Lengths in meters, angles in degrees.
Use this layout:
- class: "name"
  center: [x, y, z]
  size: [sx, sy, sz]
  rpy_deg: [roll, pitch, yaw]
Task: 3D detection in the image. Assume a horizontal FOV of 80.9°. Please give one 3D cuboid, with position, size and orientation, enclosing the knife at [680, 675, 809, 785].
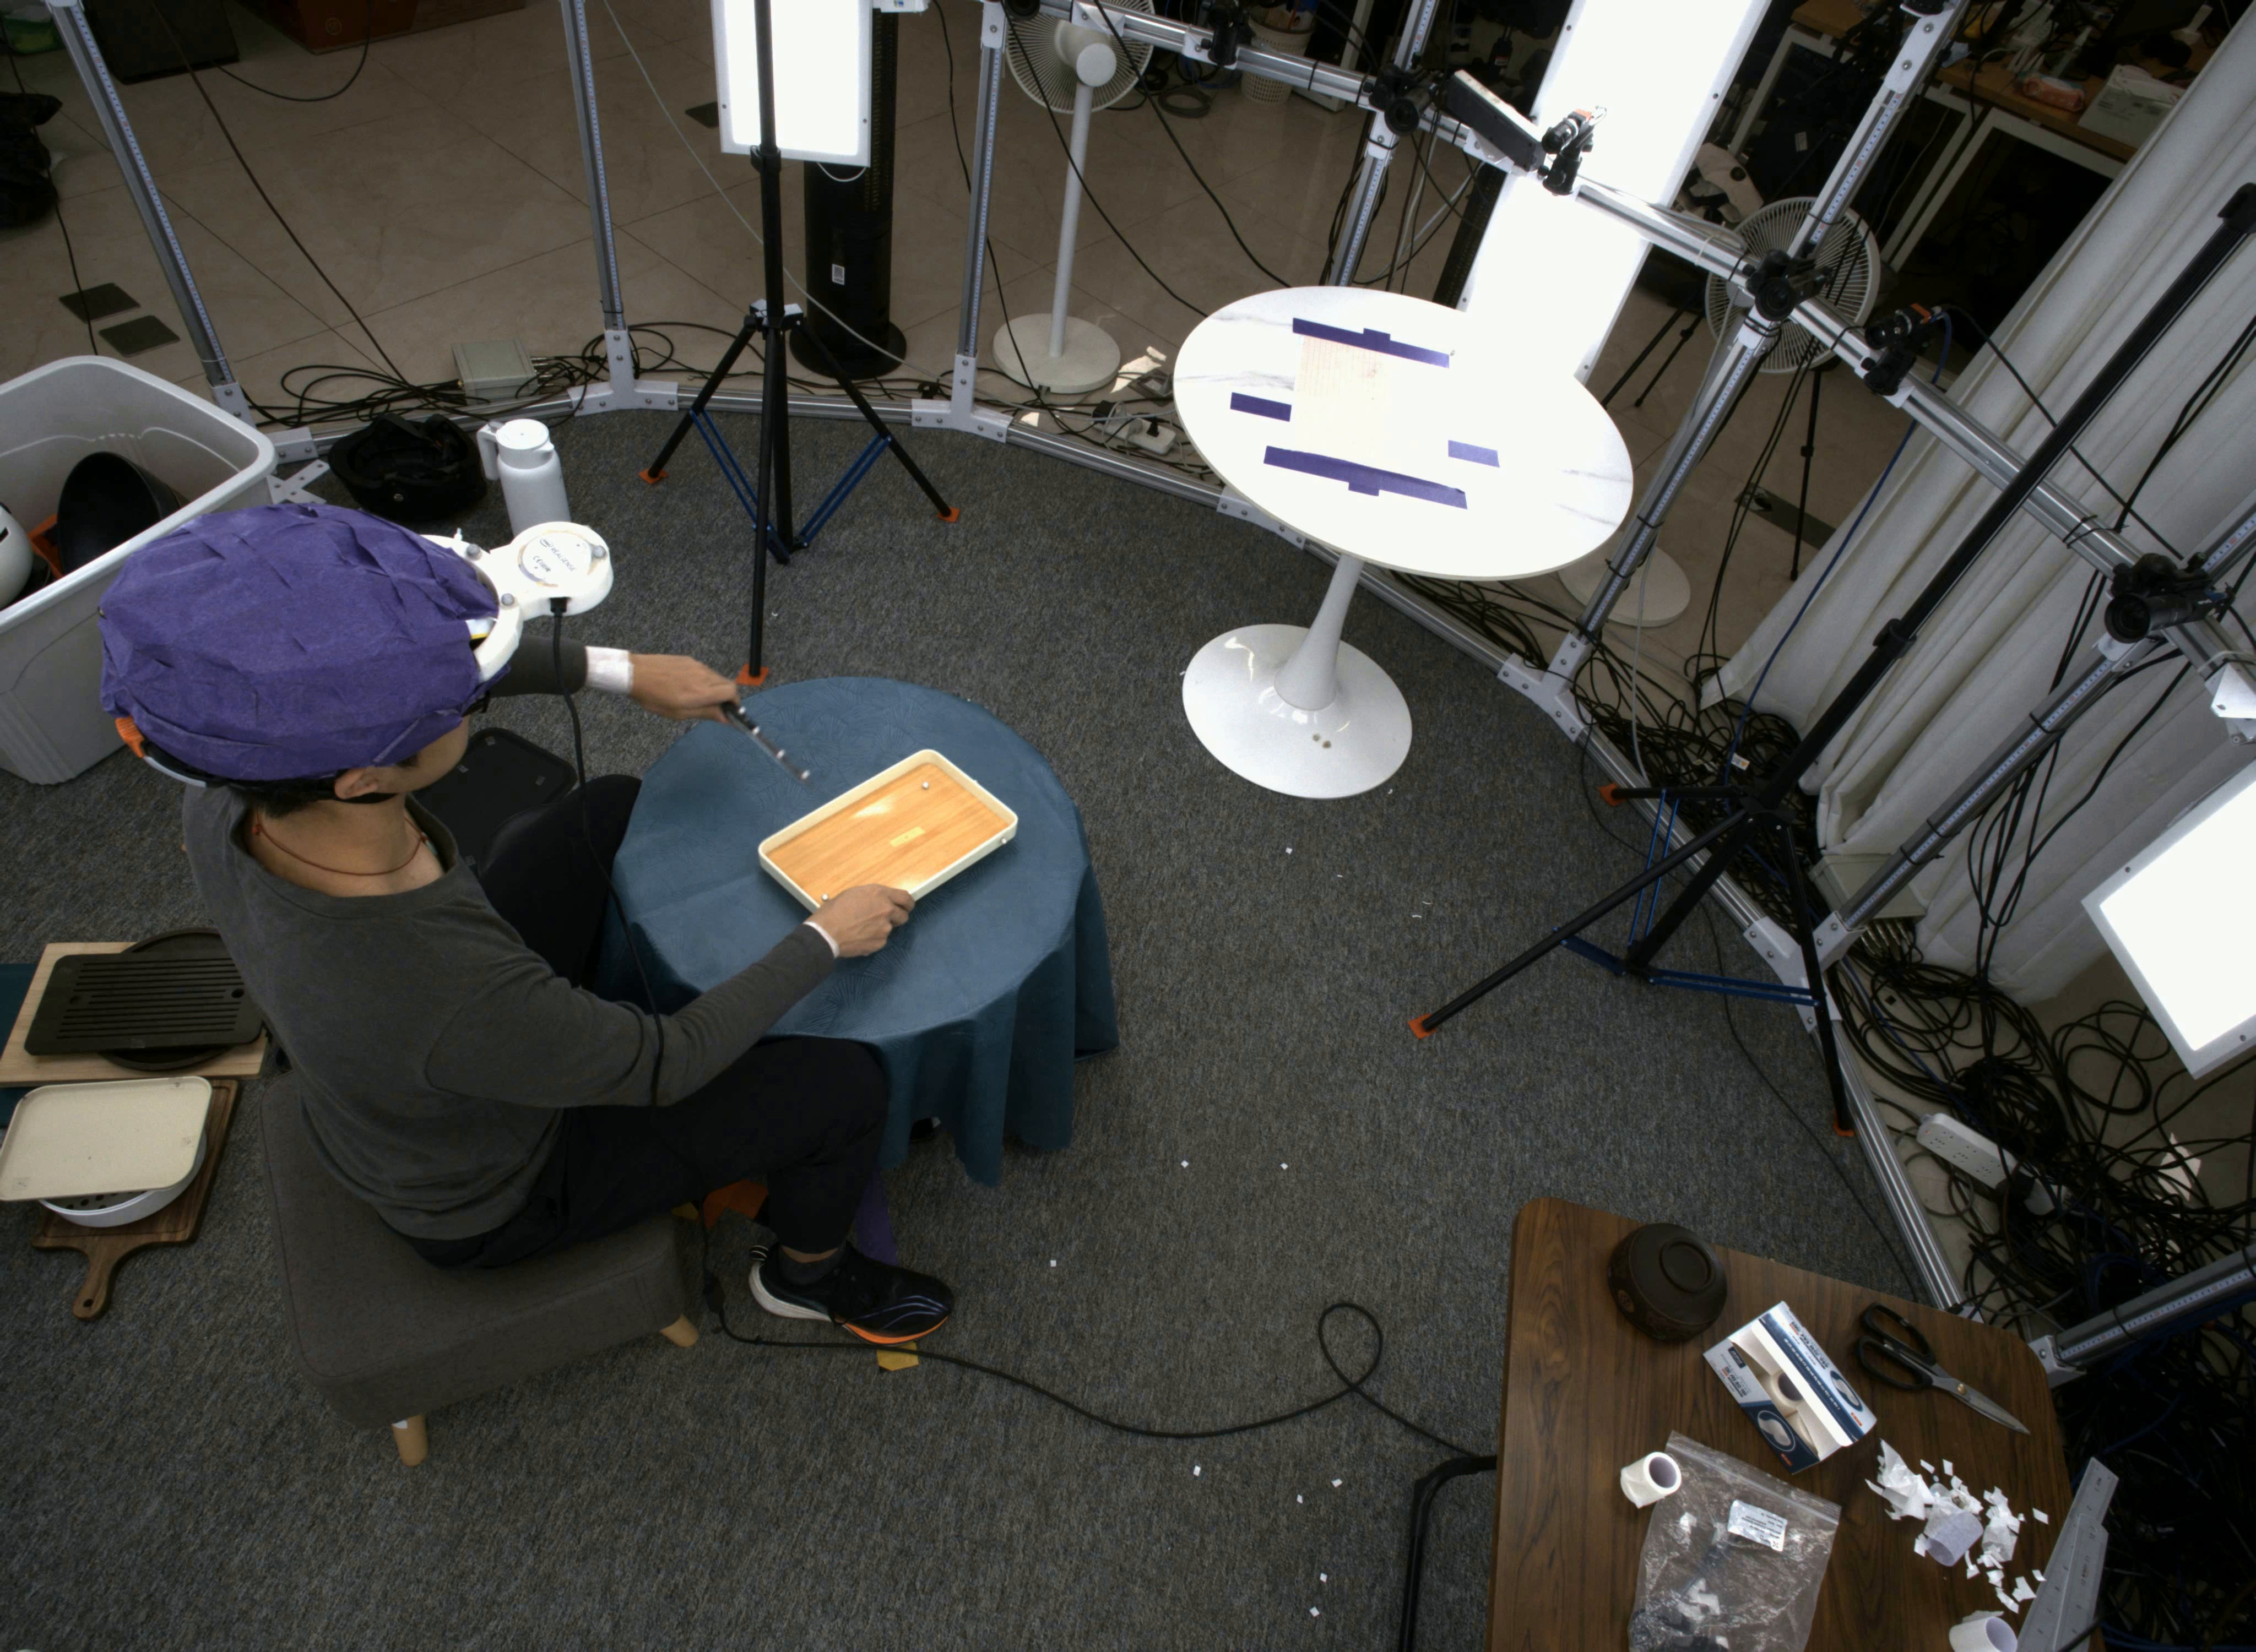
- class: "knife"
  center: [-0.487, -0.121, 1.629]
  size: [0.233, 0.016, 0.024]
  rpy_deg: [38, 24, 13]

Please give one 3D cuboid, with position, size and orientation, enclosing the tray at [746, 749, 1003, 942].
- class: "tray"
  center: [-0.329, 0.018, 1.712]
  size: [0.186, 0.028, 0.301]
  rpy_deg: [37, 52, 23]
